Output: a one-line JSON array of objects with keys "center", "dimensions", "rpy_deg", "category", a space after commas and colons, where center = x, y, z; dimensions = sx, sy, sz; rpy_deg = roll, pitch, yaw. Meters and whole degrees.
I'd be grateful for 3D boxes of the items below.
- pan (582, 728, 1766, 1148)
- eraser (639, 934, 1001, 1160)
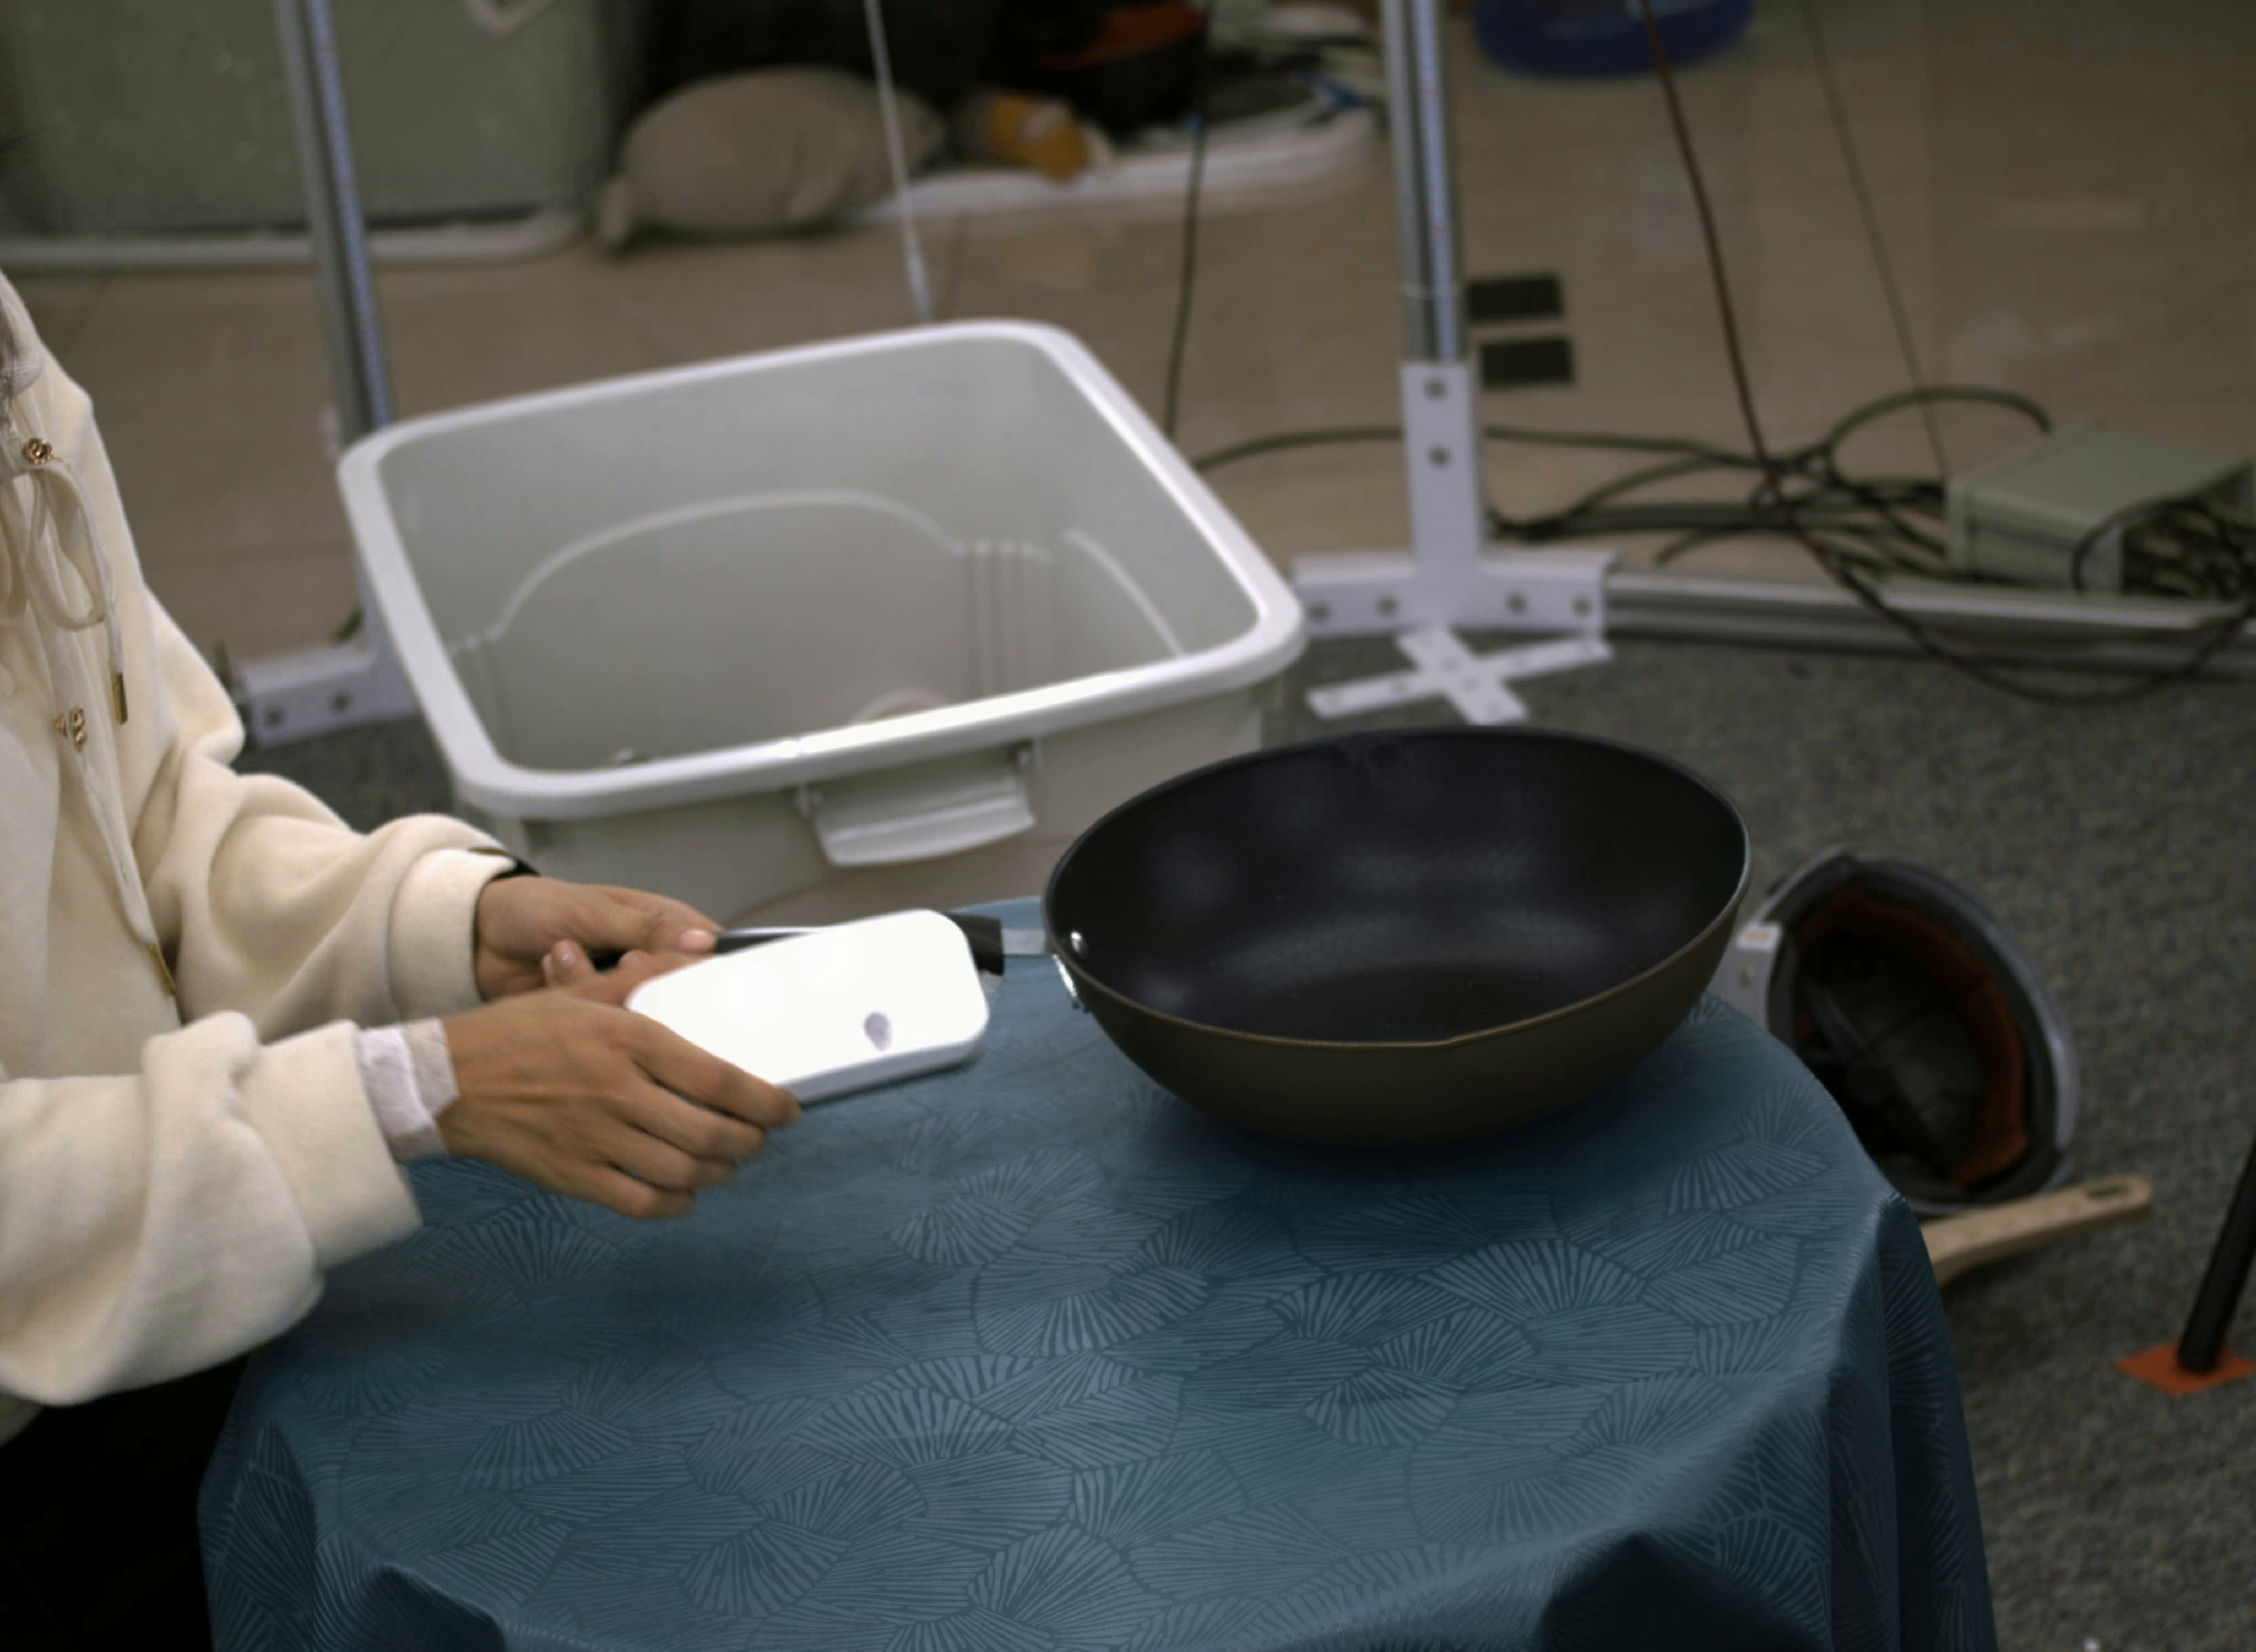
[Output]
[{"center": [0.021, 0.063, 2.207], "dimensions": [0.462, 0.088, 0.284], "rpy_deg": [-7, 24, 2], "category": "pan"}, {"center": [-0.114, 0.080, 2.096], "dimensions": [0.131, 0.035, 0.062], "rpy_deg": [-14, 55, -4], "category": "eraser"}]
